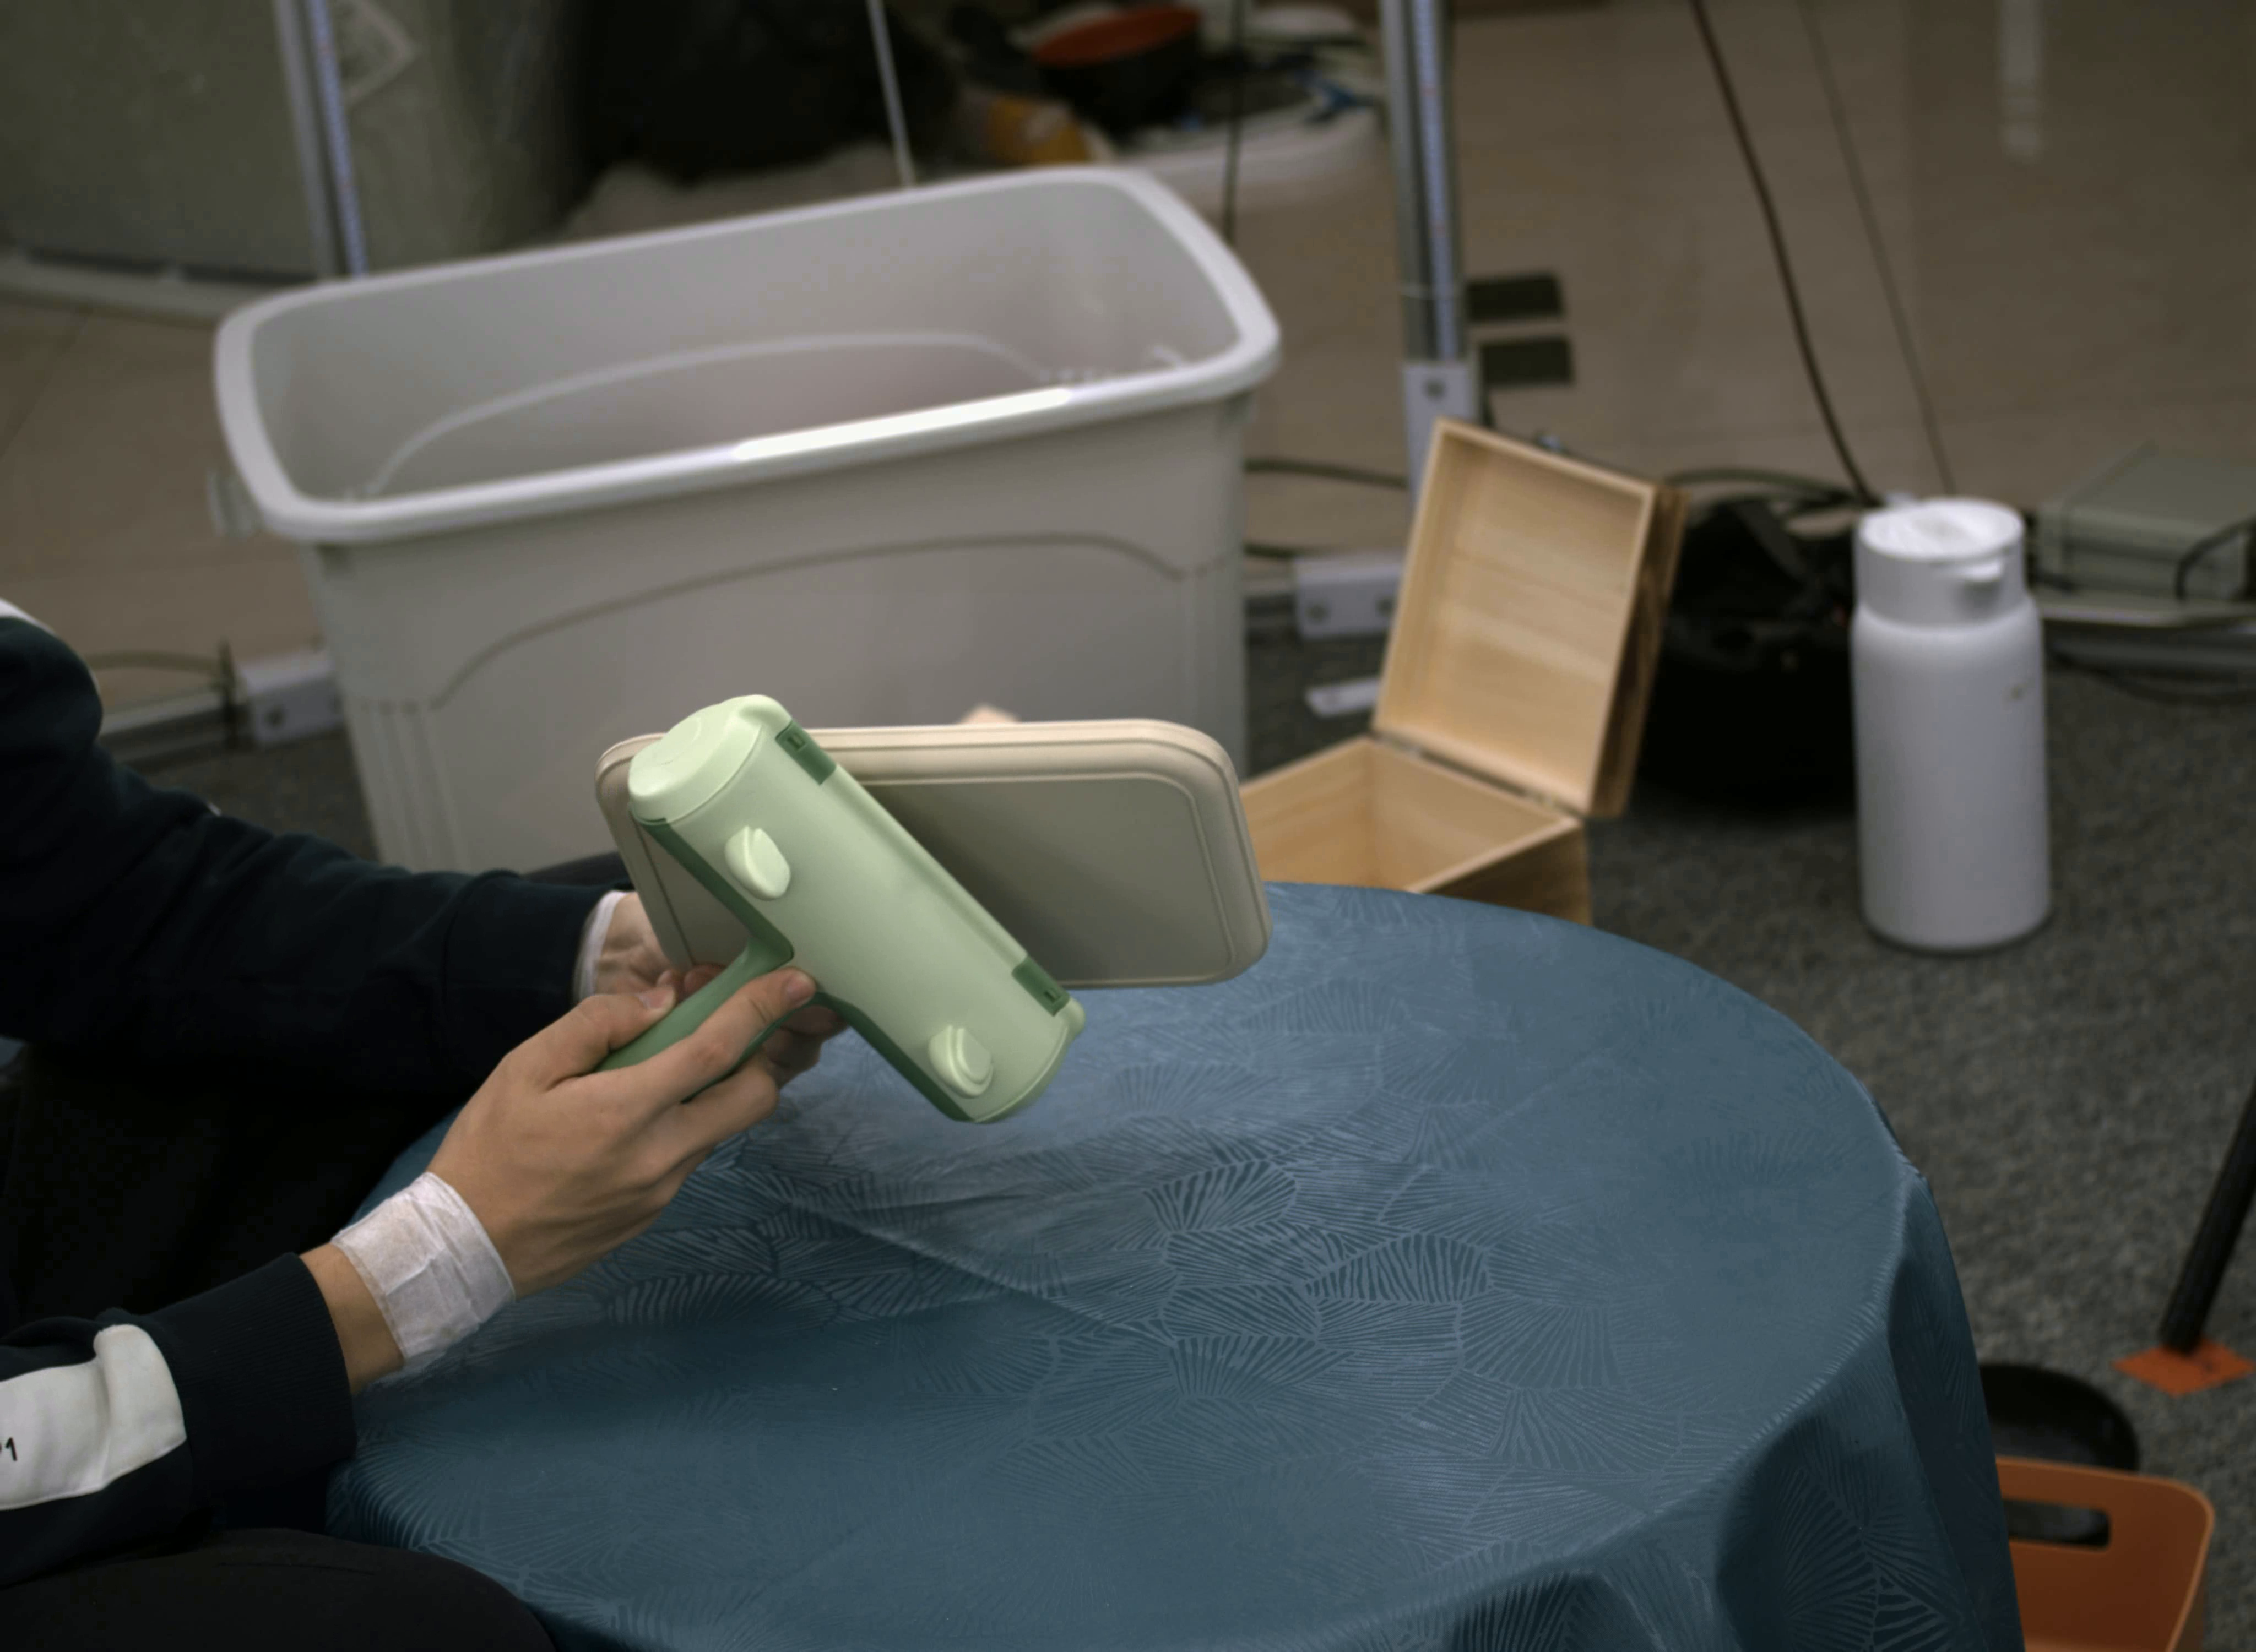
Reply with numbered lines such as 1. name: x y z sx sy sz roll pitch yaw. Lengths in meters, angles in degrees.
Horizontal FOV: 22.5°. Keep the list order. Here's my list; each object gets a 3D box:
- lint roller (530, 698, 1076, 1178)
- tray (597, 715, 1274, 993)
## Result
1. lint roller: -0.140 0.074 2.054 0.183 0.201 0.081 -43 31 1
2. tray: -0.071 0.015 2.109 0.239 0.174 0.017 -2 56 9
